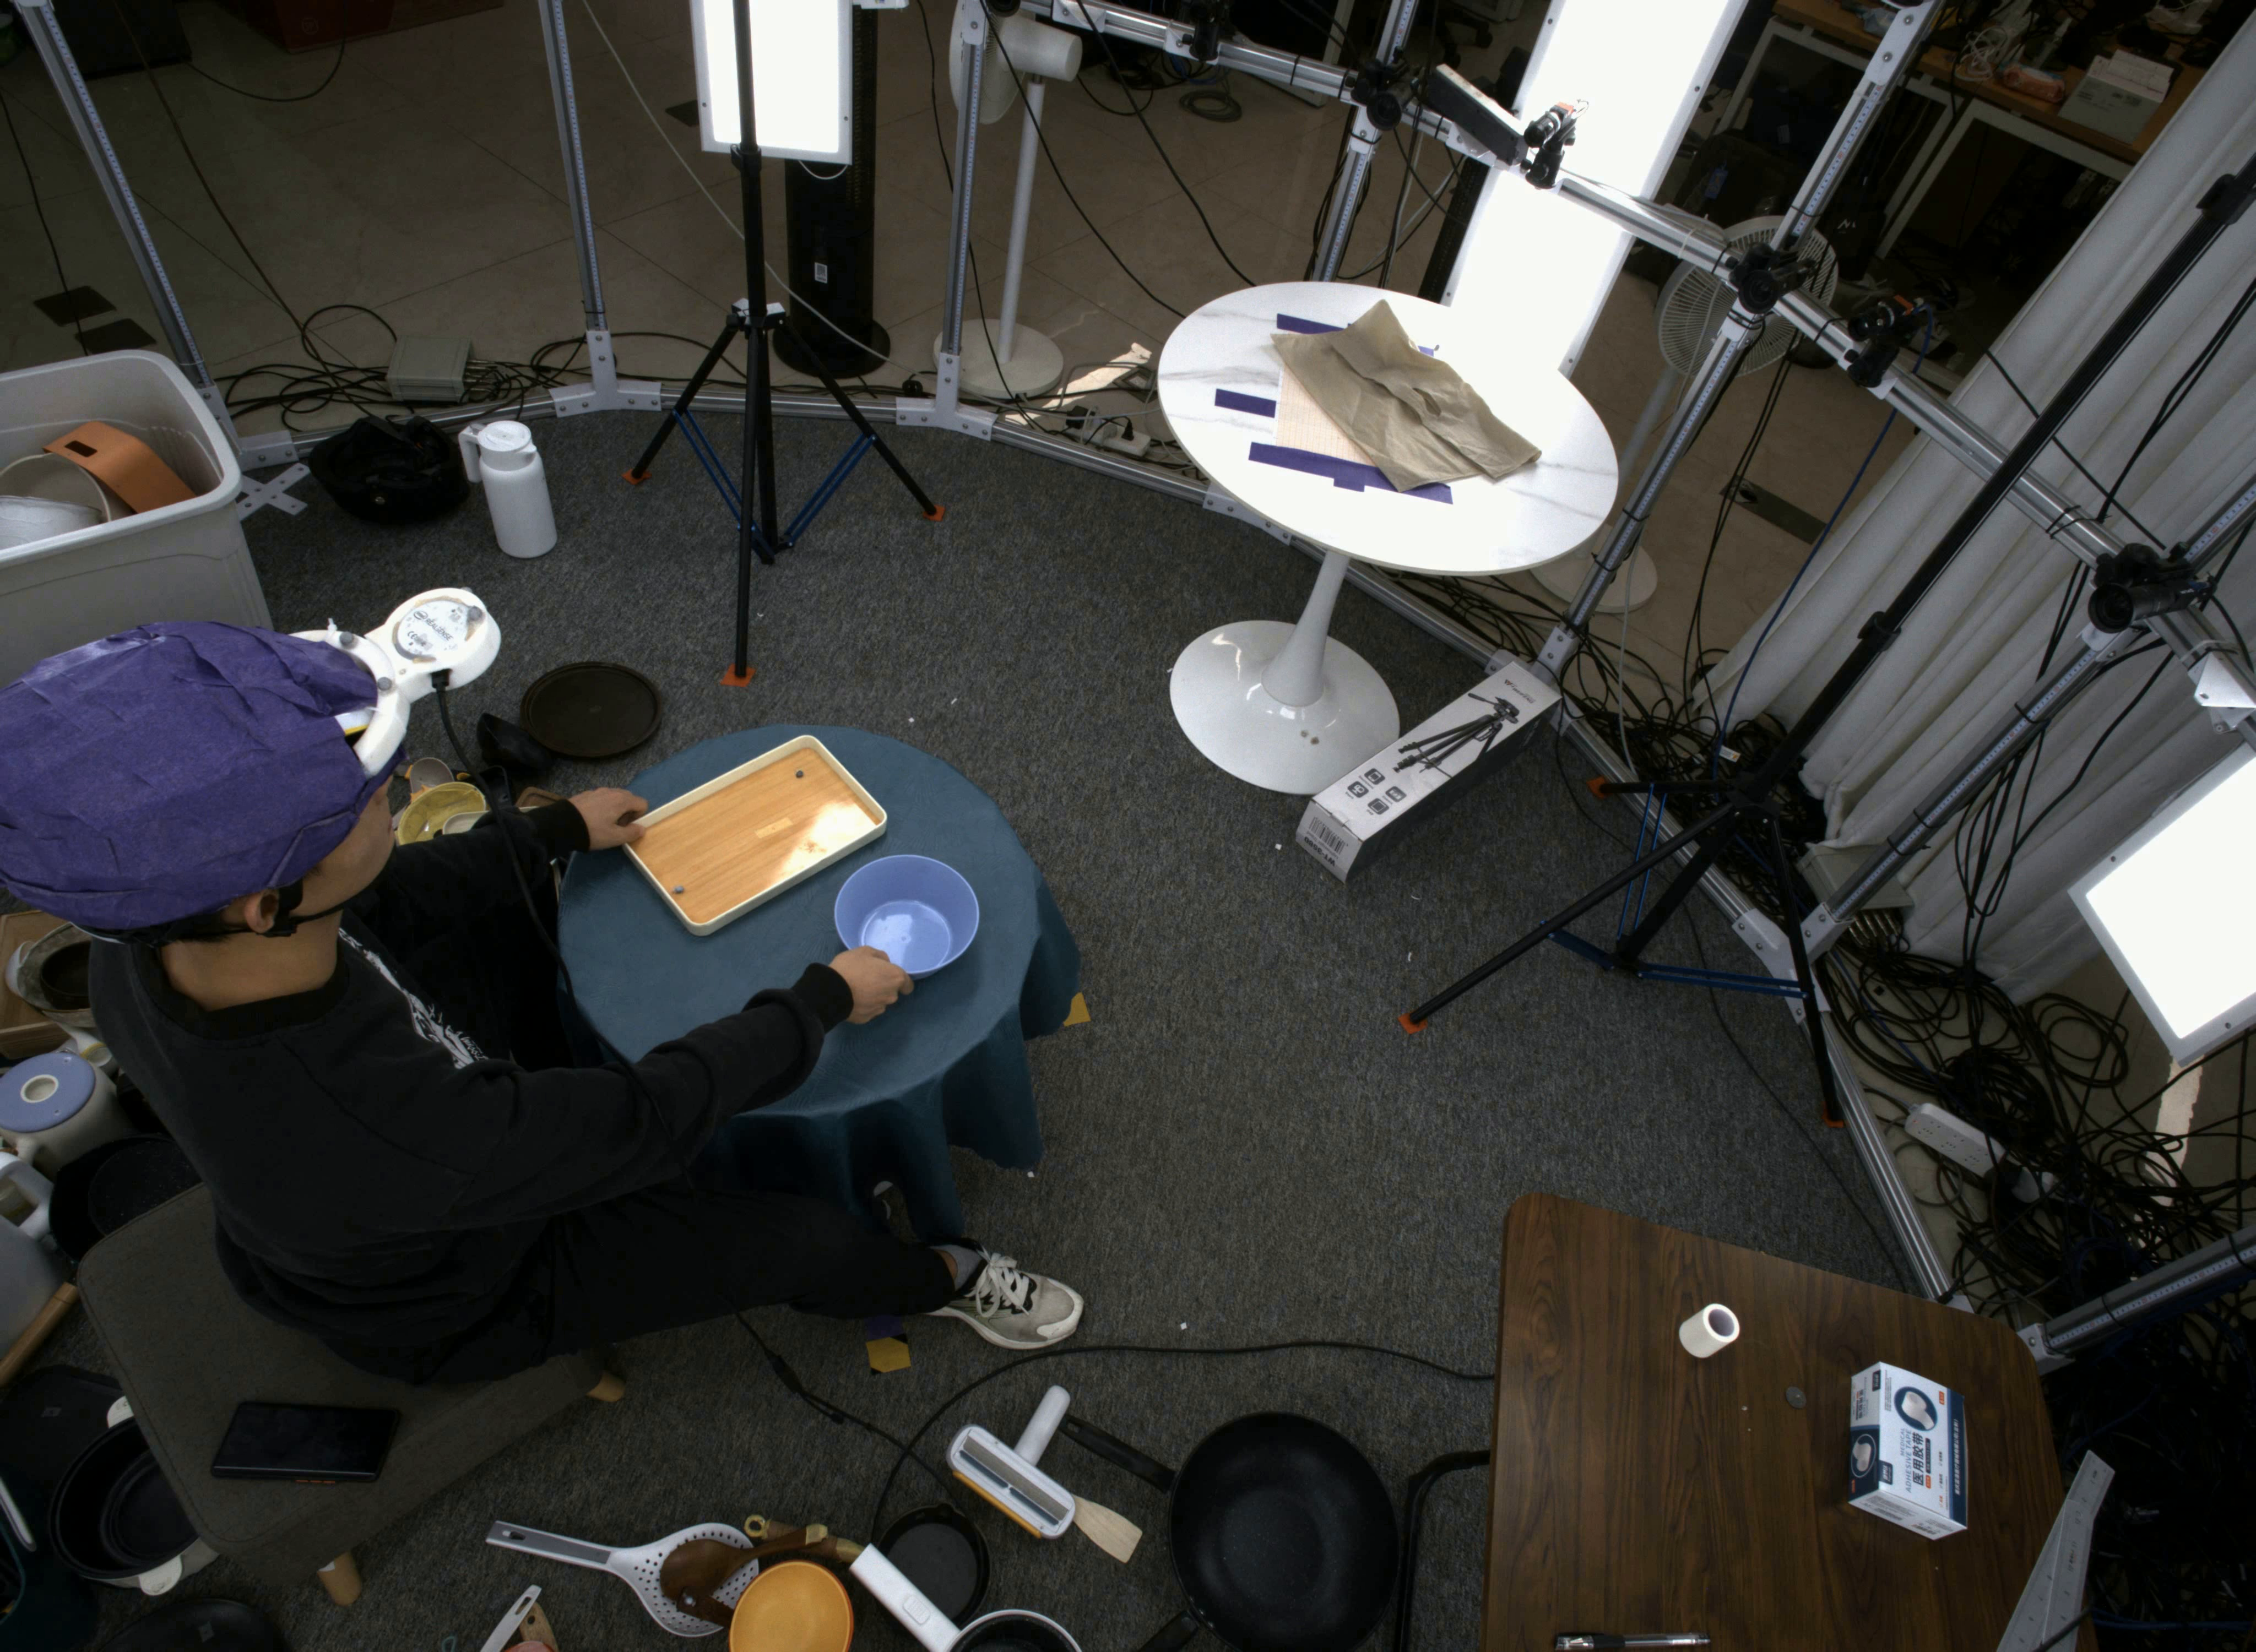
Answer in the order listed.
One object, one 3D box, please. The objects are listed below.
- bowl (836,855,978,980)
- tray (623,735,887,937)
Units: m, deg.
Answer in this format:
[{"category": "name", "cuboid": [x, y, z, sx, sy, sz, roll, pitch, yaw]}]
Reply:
[{"category": "bowl", "cuboid": [-0.276, 0.124, 1.628, 0.176, 0.072, 0.173, 8, 51, -9]}, {"category": "tray", "cuboid": [-0.486, 0.005, 1.692, 0.301, 0.028, 0.187, -33, 68, -32]}]
